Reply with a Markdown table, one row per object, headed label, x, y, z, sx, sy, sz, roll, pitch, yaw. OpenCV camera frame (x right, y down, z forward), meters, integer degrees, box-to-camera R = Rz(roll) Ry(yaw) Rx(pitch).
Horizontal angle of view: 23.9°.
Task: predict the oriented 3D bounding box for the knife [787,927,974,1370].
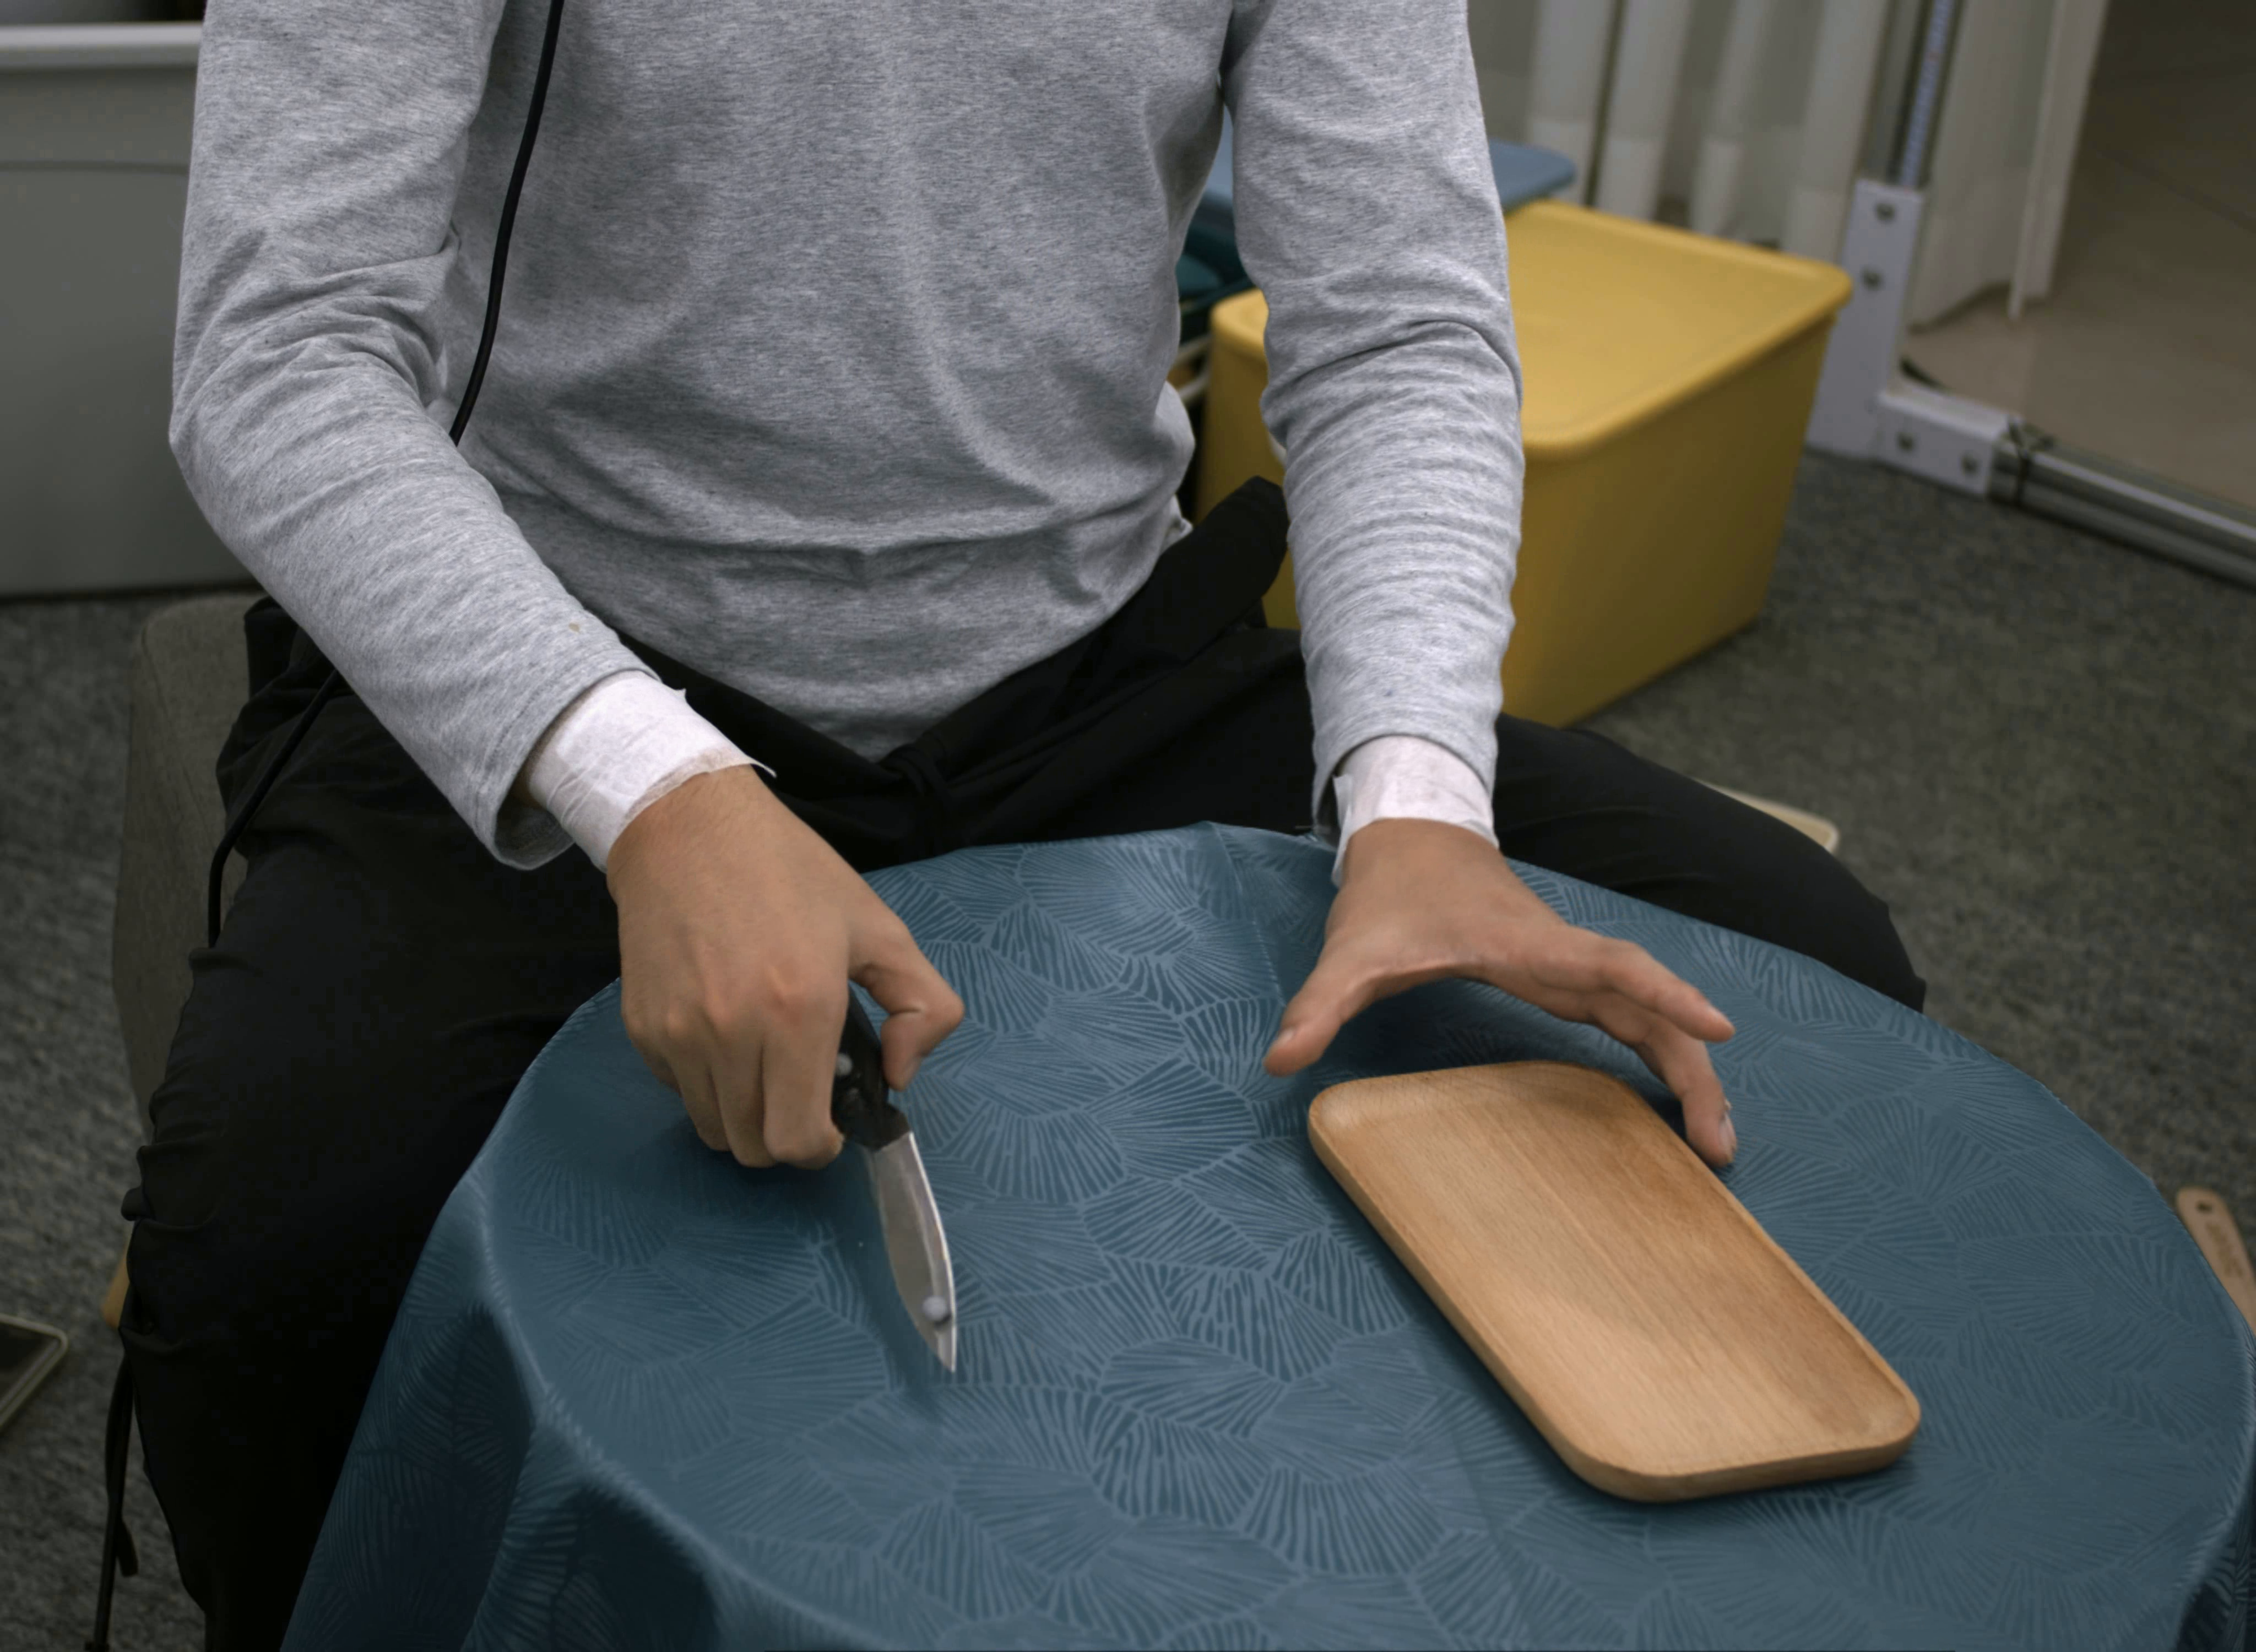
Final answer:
| label | x | y | z | sx | sy | sz | roll | pitch | yaw |
| --- | --- | --- | --- | --- | --- | --- | --- | --- | --- |
| knife | -0.082 | 0.107 | 1.763 | 0.024 | 0.016 | 0.240 | -33 | 36 | 6 |

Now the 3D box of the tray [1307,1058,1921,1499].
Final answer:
| label | x | y | z | sx | sy | sz | roll | pitch | yaw |
| --- | --- | --- | --- | --- | --- | --- | --- | --- | --- |
| tray | 0.158 | 0.148 | 1.776 | 0.129 | 0.023 | 0.253 | -2 | 27 | -22 |
